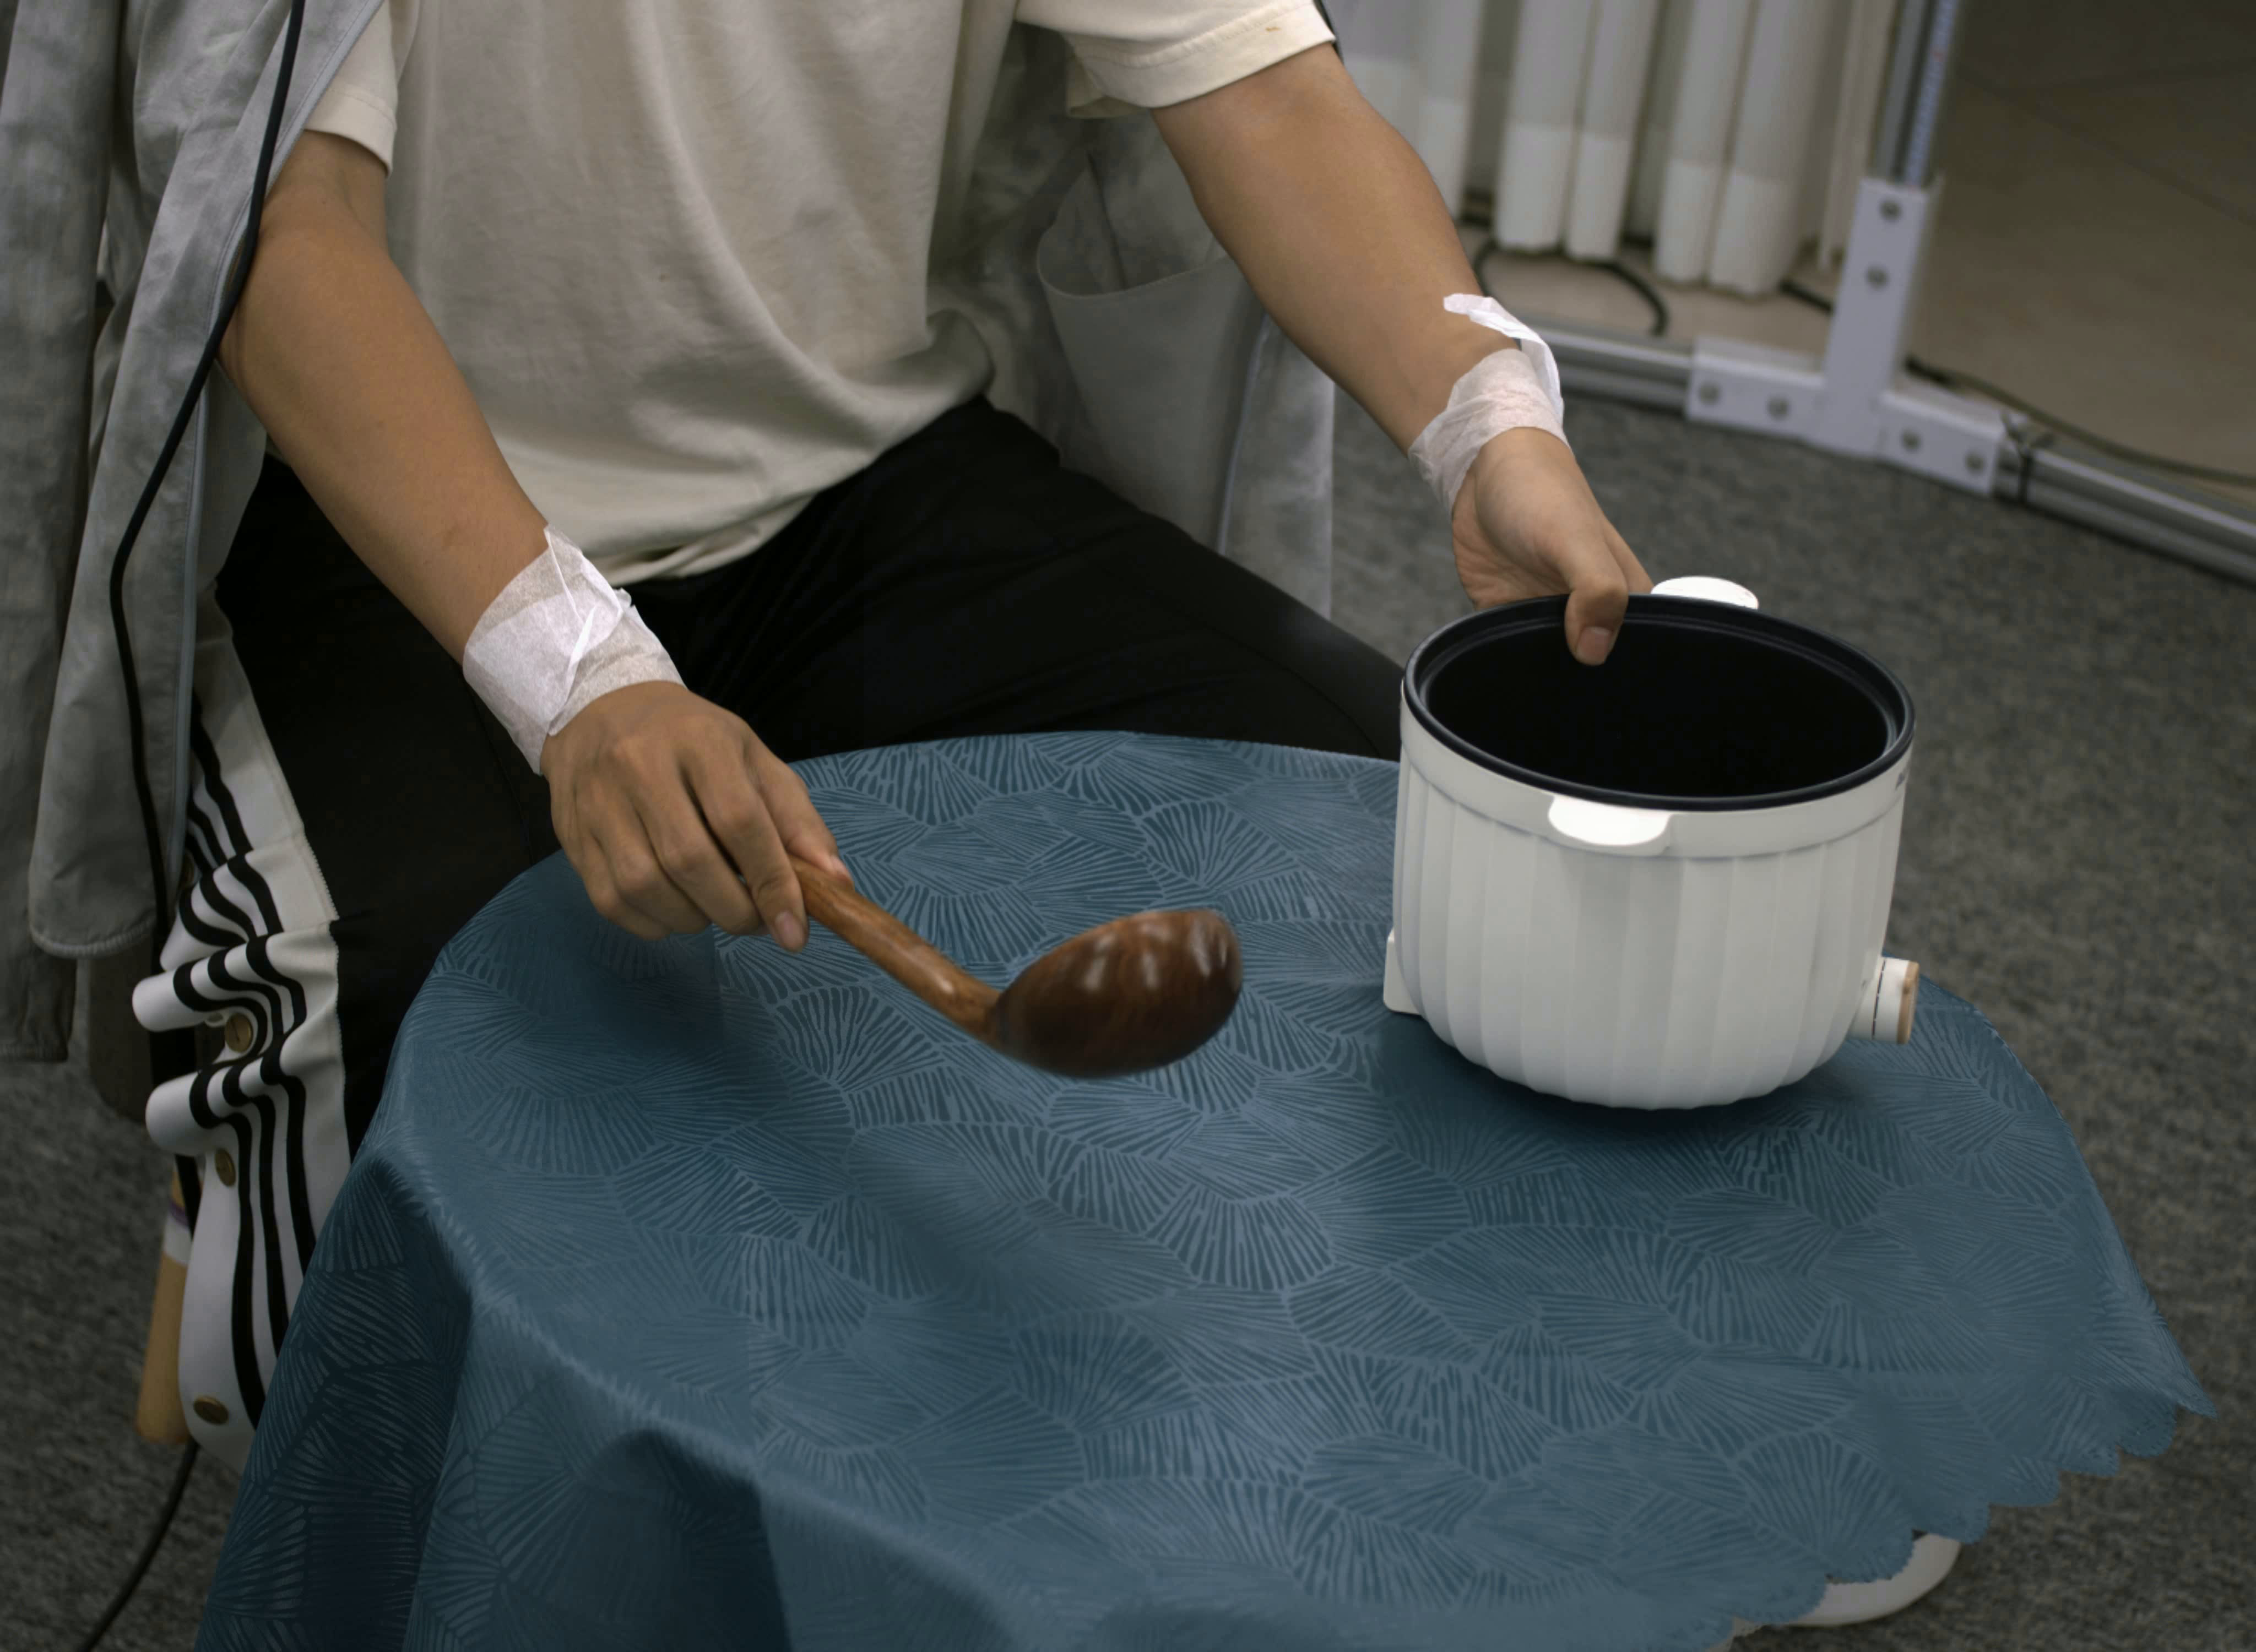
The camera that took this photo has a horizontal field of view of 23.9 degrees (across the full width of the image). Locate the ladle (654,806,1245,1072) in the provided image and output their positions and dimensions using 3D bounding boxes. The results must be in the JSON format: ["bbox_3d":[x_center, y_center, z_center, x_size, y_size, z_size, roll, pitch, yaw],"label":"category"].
[{"bbox_3d":[-0.068,0.015,1.798,0.081,0.077,0.276,22,5,-44],"label":"ladle"}]

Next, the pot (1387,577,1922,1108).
[{"bbox_3d":[0.189,0.013,1.904,0.190,0.142,0.241,5,26,14],"label":"pot"}]
